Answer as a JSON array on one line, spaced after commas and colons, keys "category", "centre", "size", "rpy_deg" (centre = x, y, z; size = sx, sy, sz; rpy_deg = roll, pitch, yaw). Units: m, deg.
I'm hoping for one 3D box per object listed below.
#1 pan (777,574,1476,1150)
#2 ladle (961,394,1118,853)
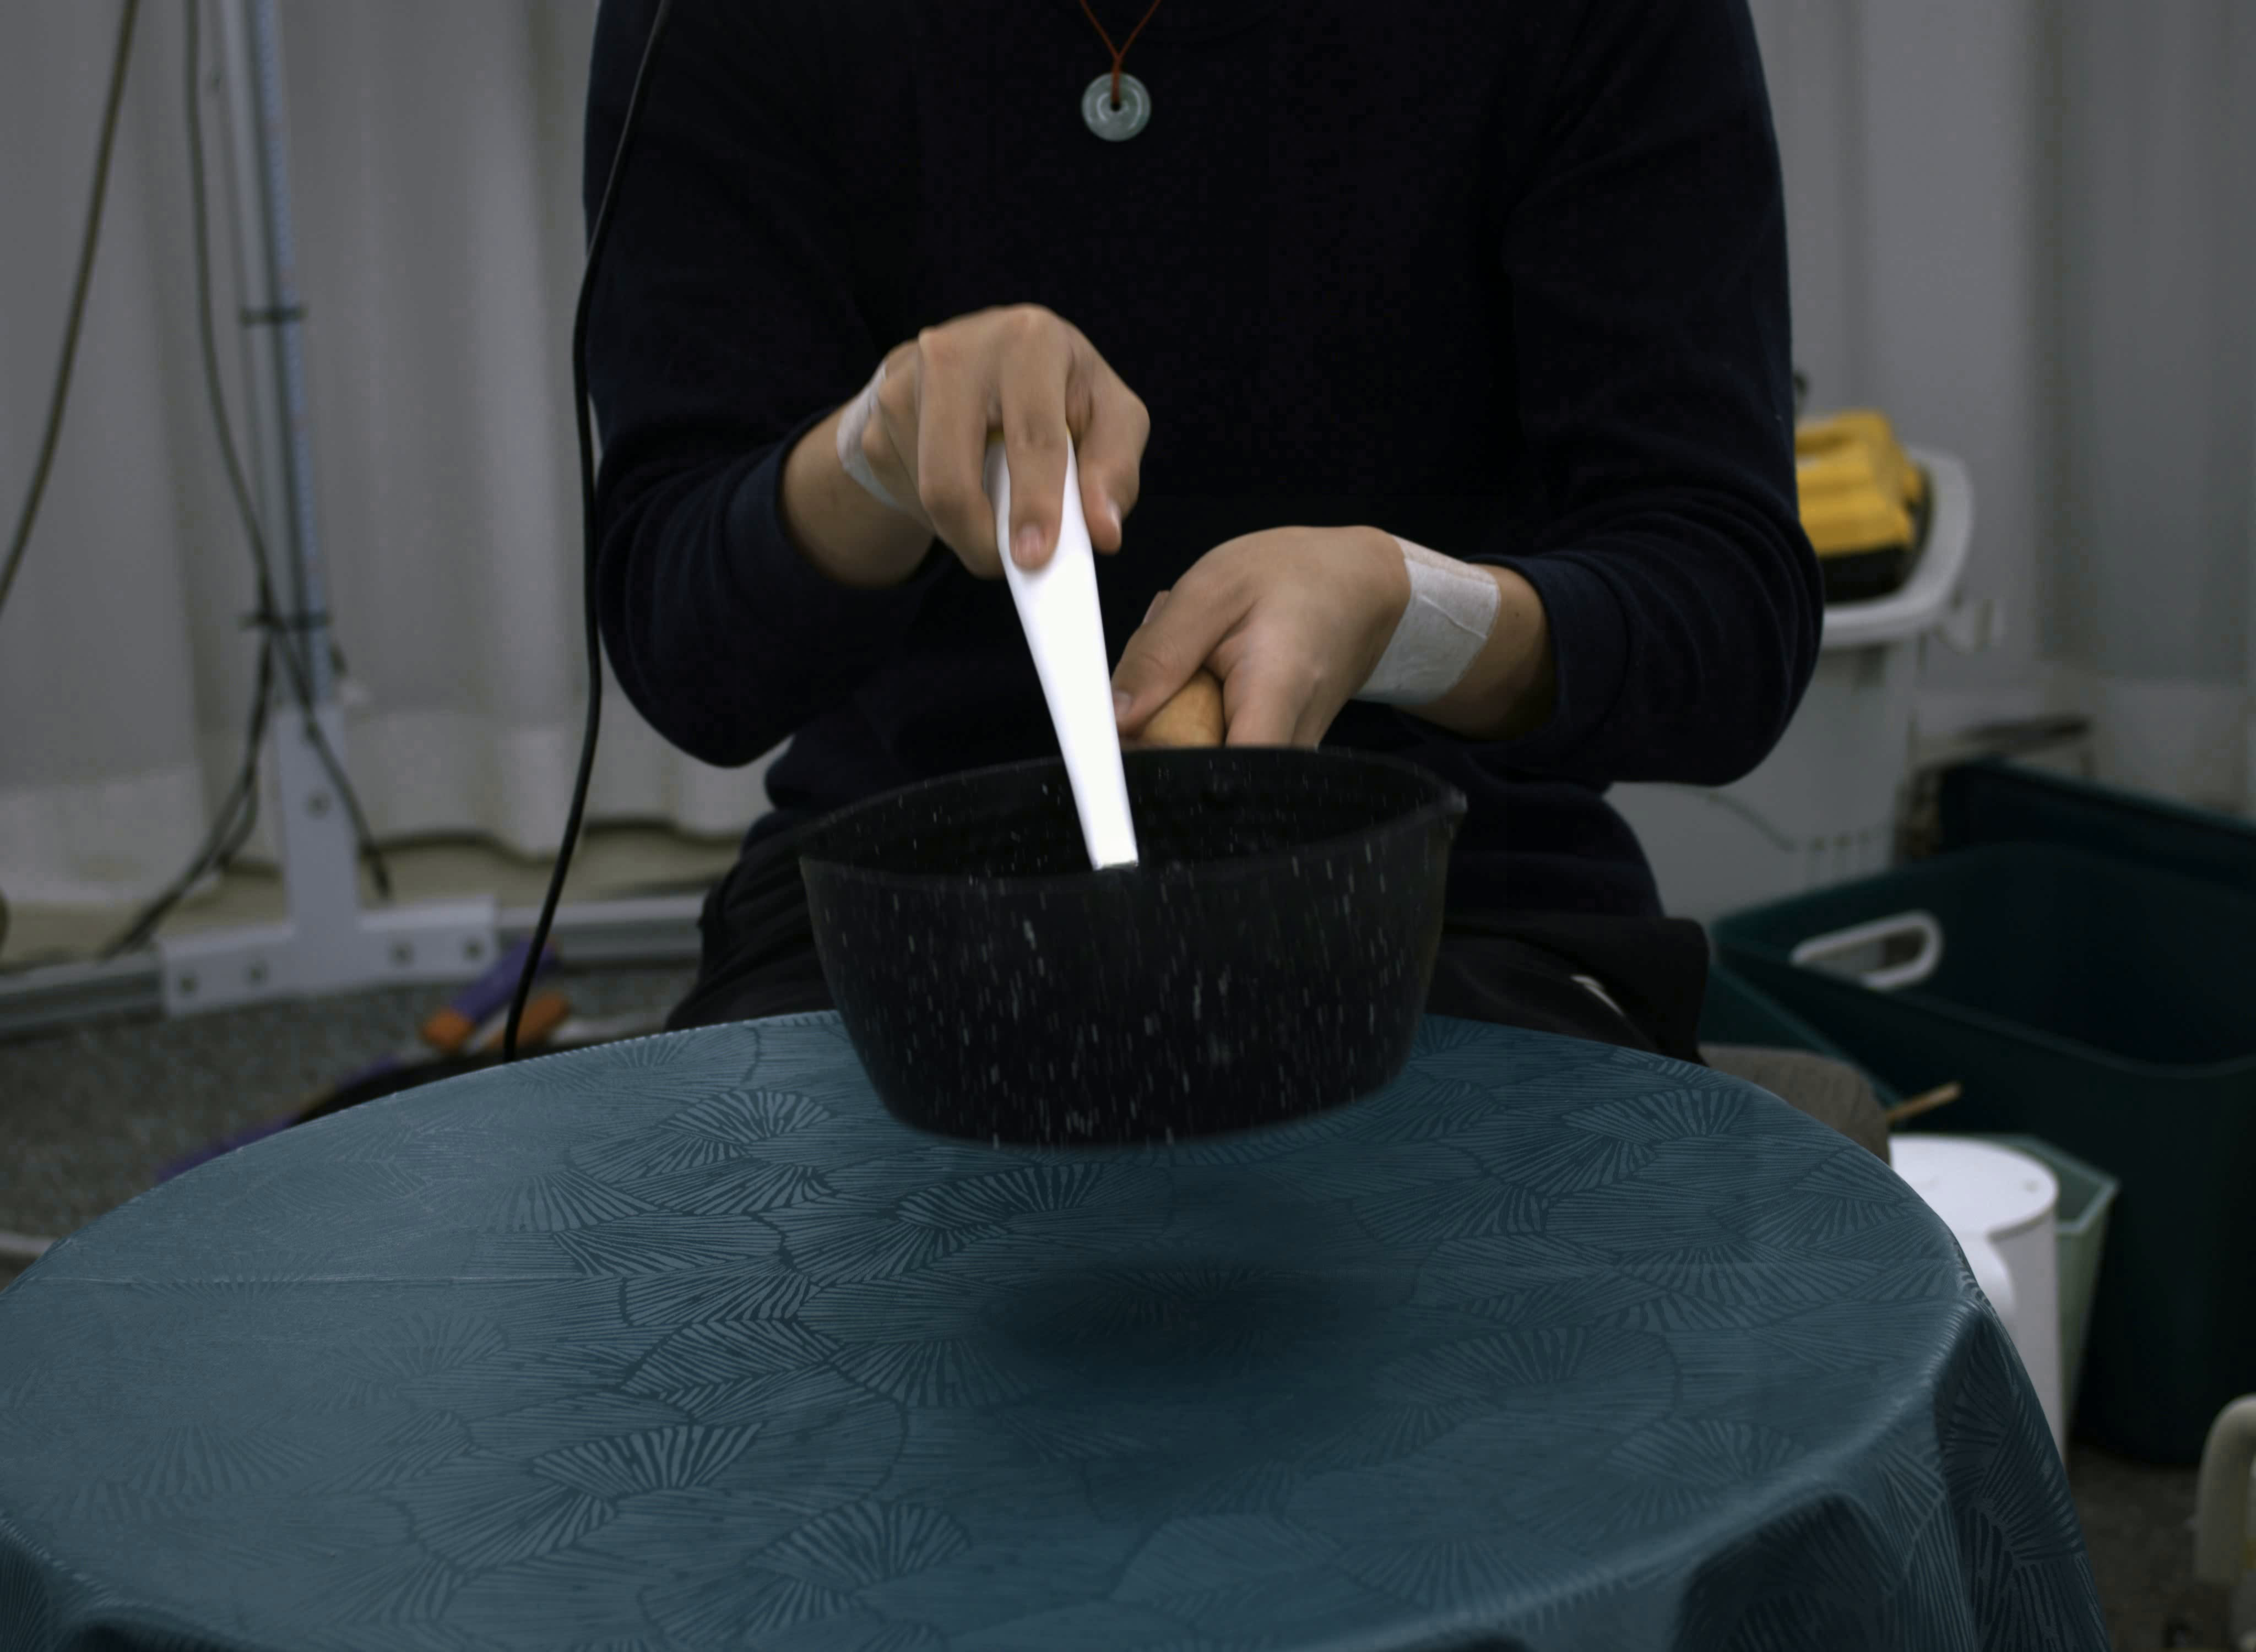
[{"category": "pan", "centre": [0.009, 0.006, 1.661], "size": [0.207, 0.108, 0.344], "rpy_deg": [-5, 12, 7]}, {"category": "ladle", "centre": [-0.022, -0.043, 1.655], "size": [0.090, 0.069, 0.297], "rpy_deg": [-14, 43, 3]}]
